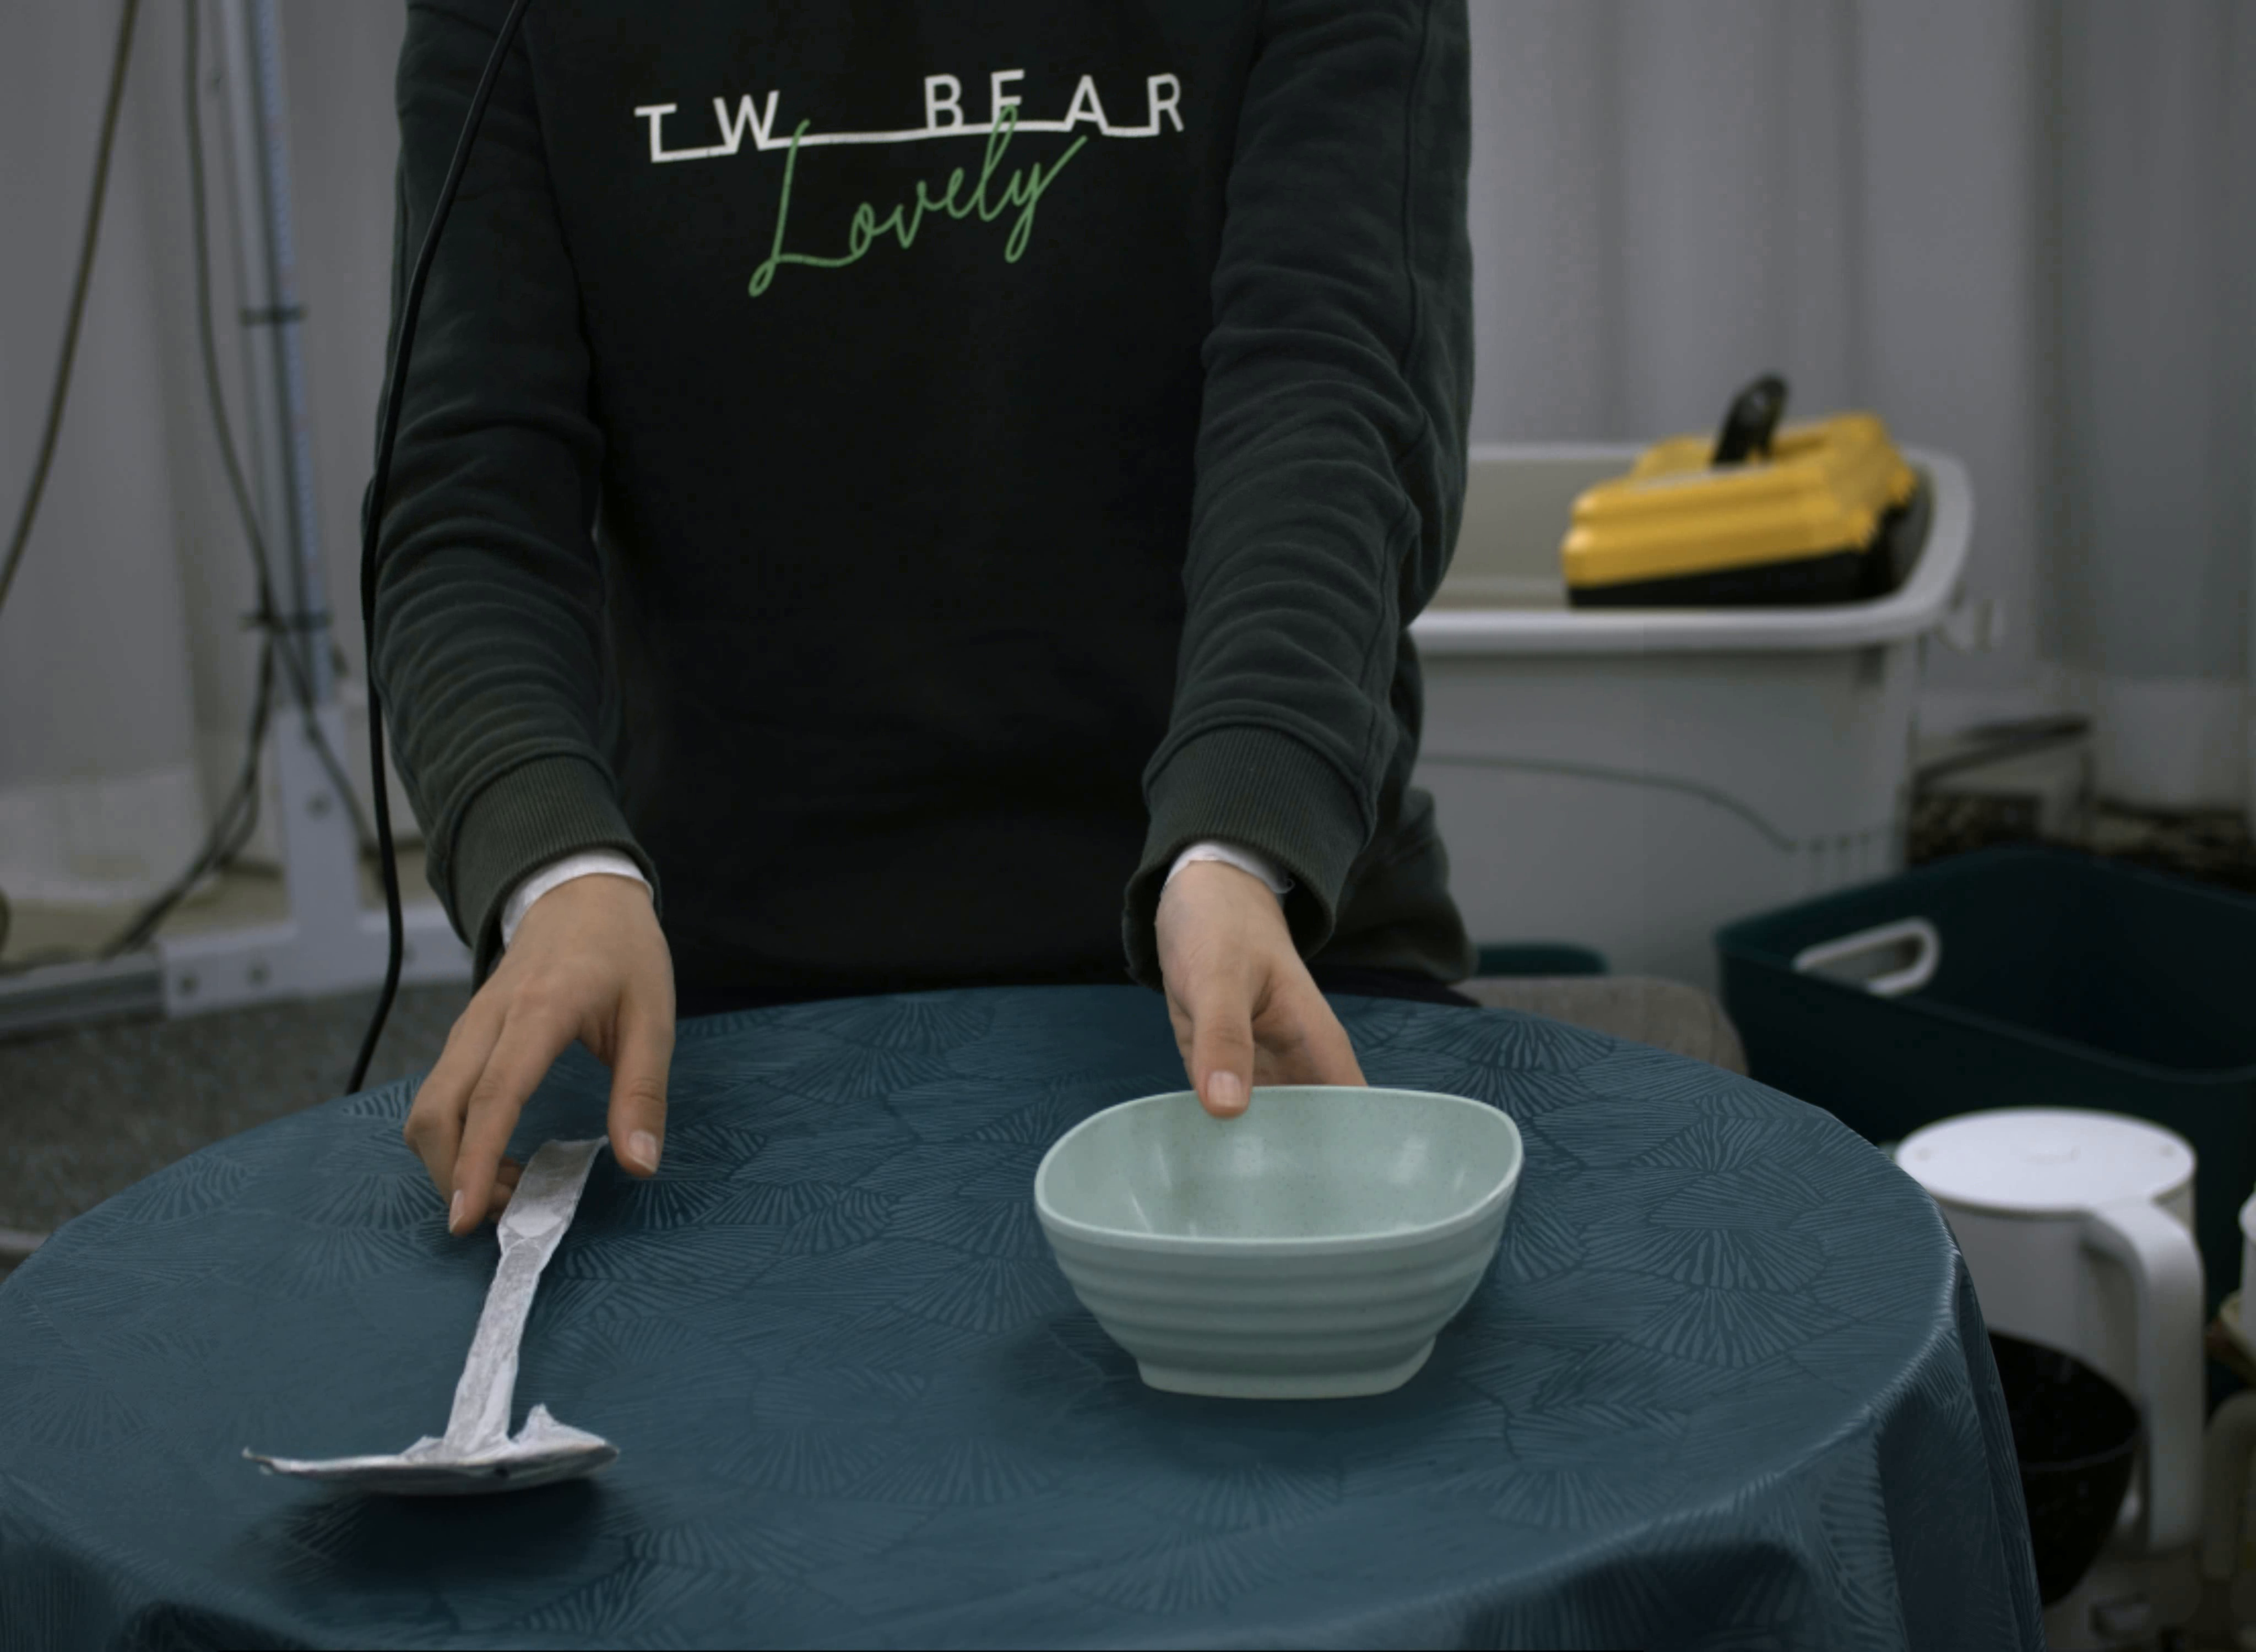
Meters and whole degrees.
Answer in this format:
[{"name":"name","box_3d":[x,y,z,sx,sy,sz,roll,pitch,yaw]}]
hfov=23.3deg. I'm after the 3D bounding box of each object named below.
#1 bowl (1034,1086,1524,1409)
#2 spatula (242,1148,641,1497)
[{"name":"bowl","box_3d":[0.043,0.124,1.566,0.151,0.058,0.152,-1,16,0]},{"name":"spatula","box_3d":[-0.177,0.136,1.594,0.098,0.044,0.367,-4,15,3]}]
